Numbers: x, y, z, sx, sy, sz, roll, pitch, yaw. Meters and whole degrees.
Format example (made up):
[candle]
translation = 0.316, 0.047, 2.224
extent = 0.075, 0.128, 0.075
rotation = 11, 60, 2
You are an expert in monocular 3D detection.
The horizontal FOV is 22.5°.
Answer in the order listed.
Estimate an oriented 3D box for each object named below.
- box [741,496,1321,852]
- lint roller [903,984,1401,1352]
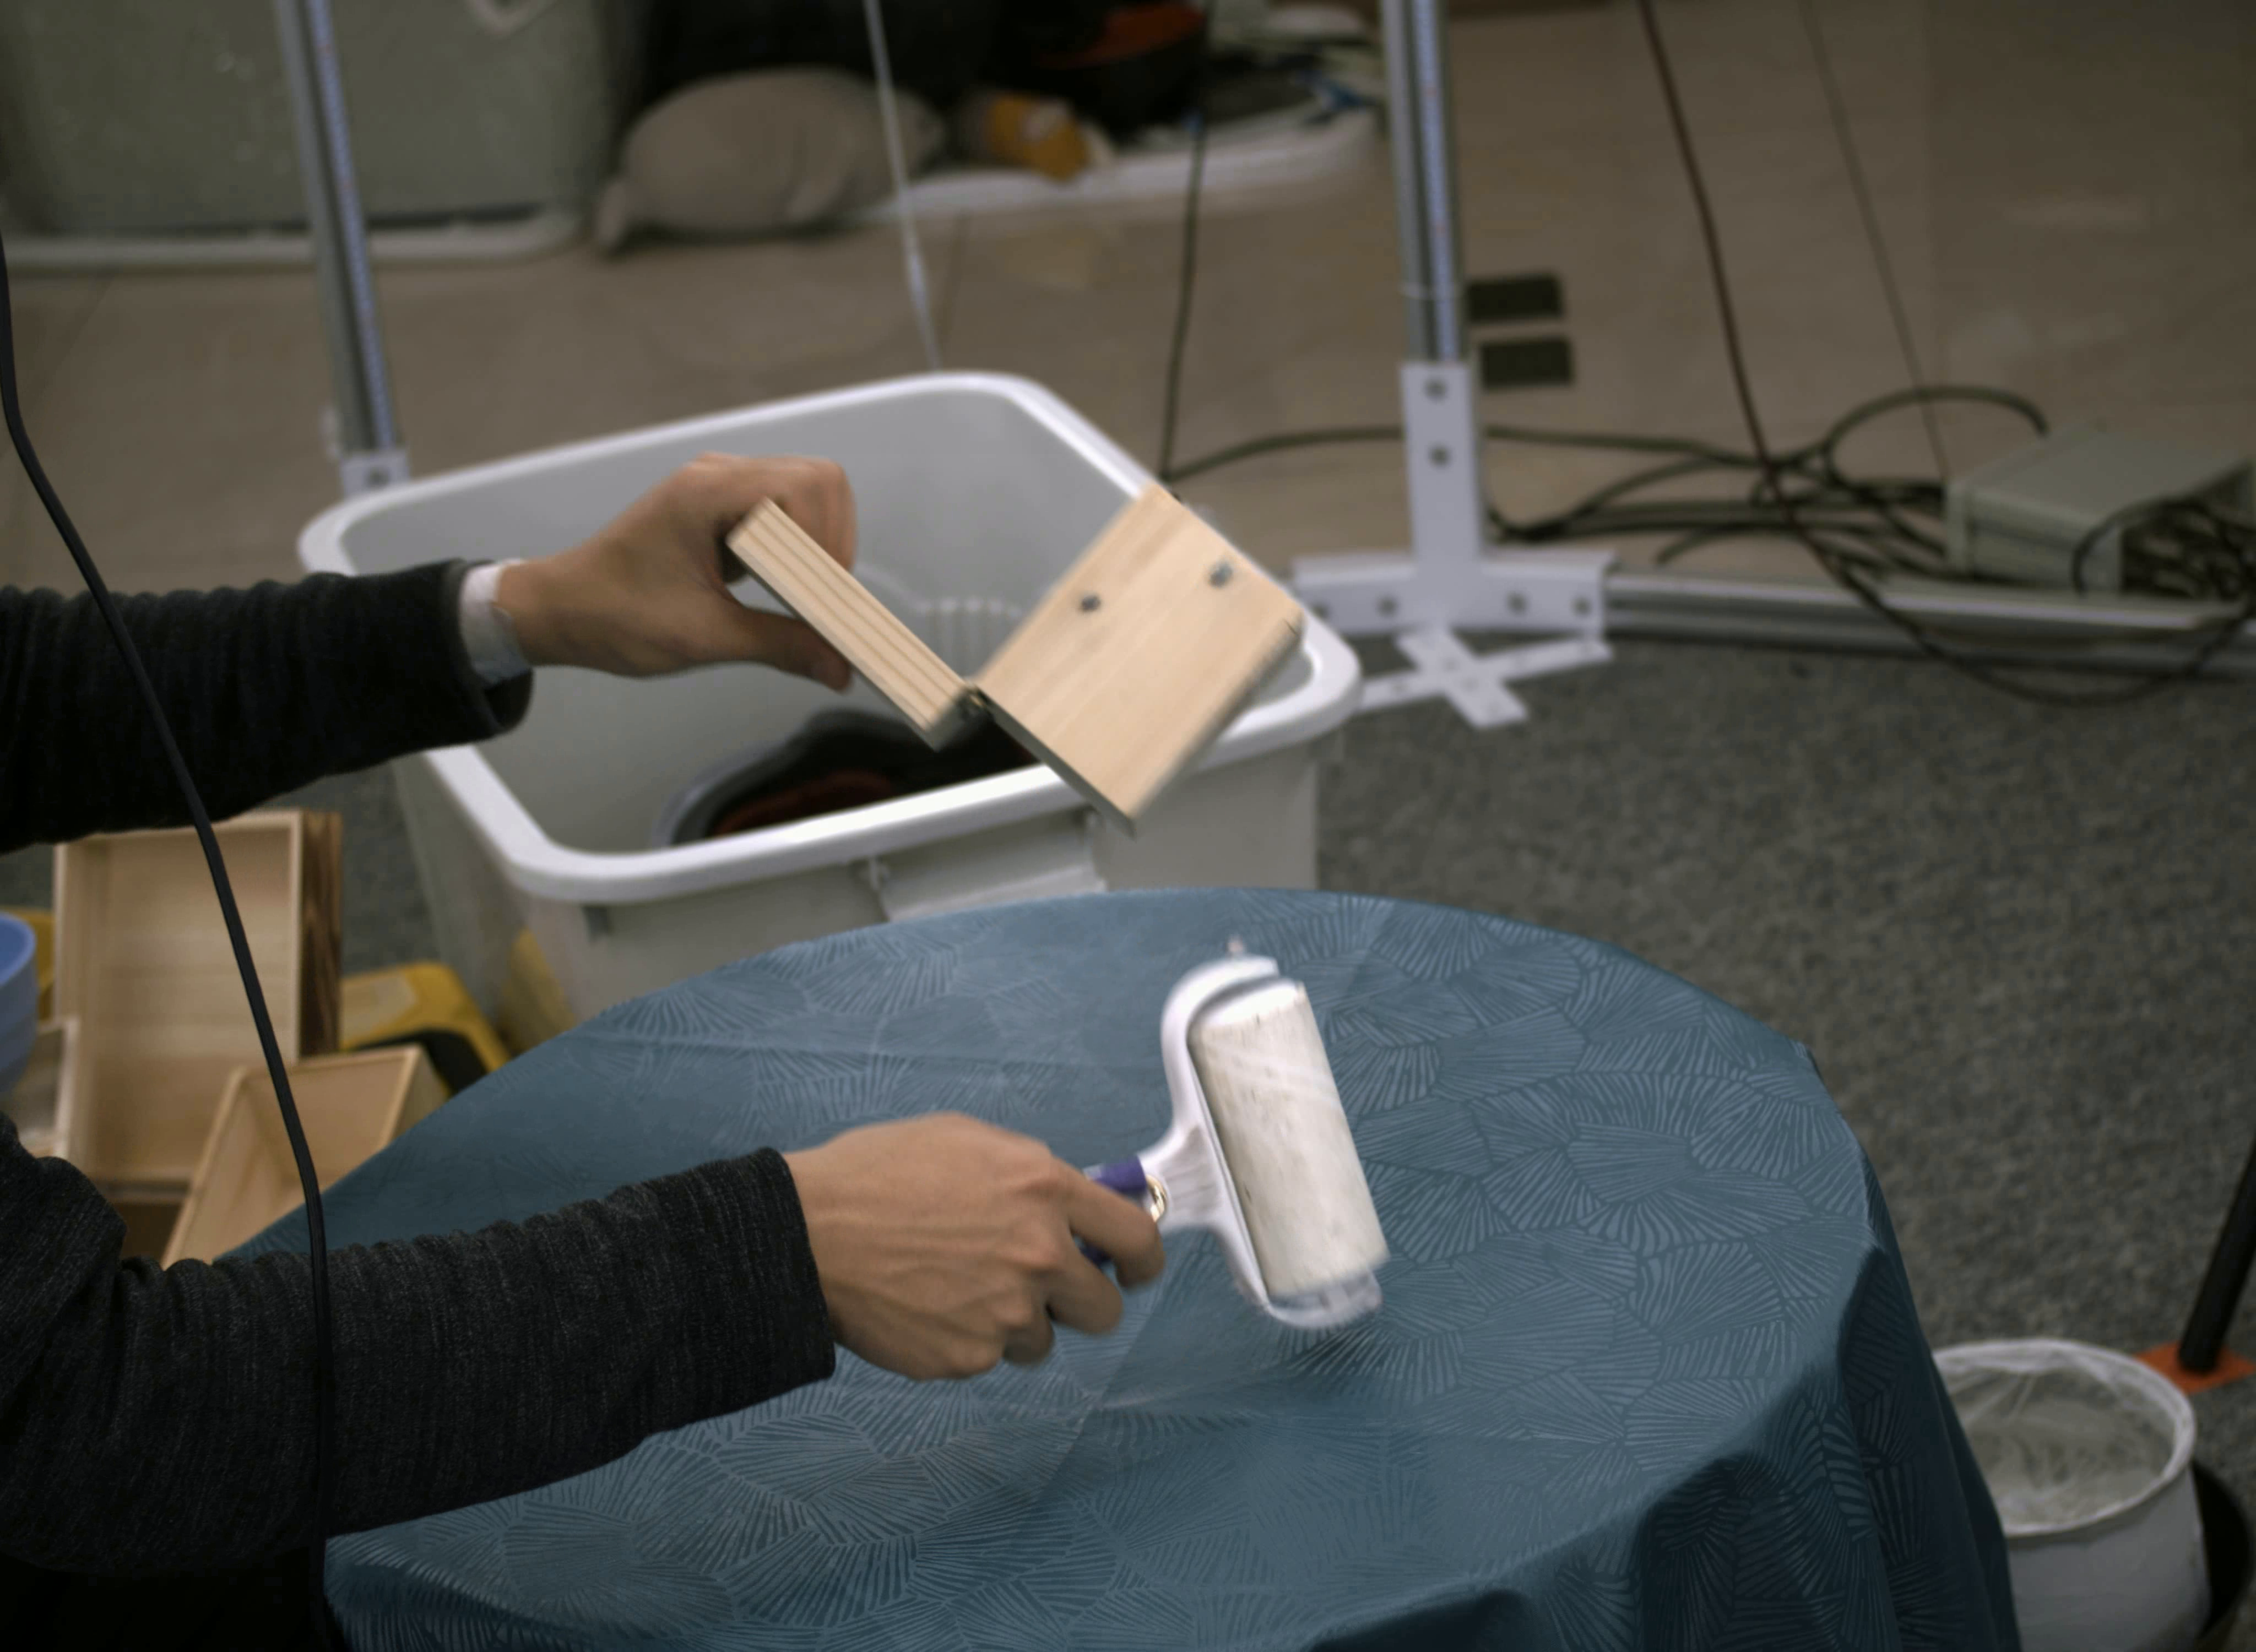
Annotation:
[box]
translation = -0.035, -0.084, 2.134
extent = 0.134, 0.184, 0.103
rotation = -49, -2, -2
[lint roller]
translation = 0.005, 0.137, 1.974
extent = 0.180, 0.133, 0.050
rotation = -18, 1, -32
